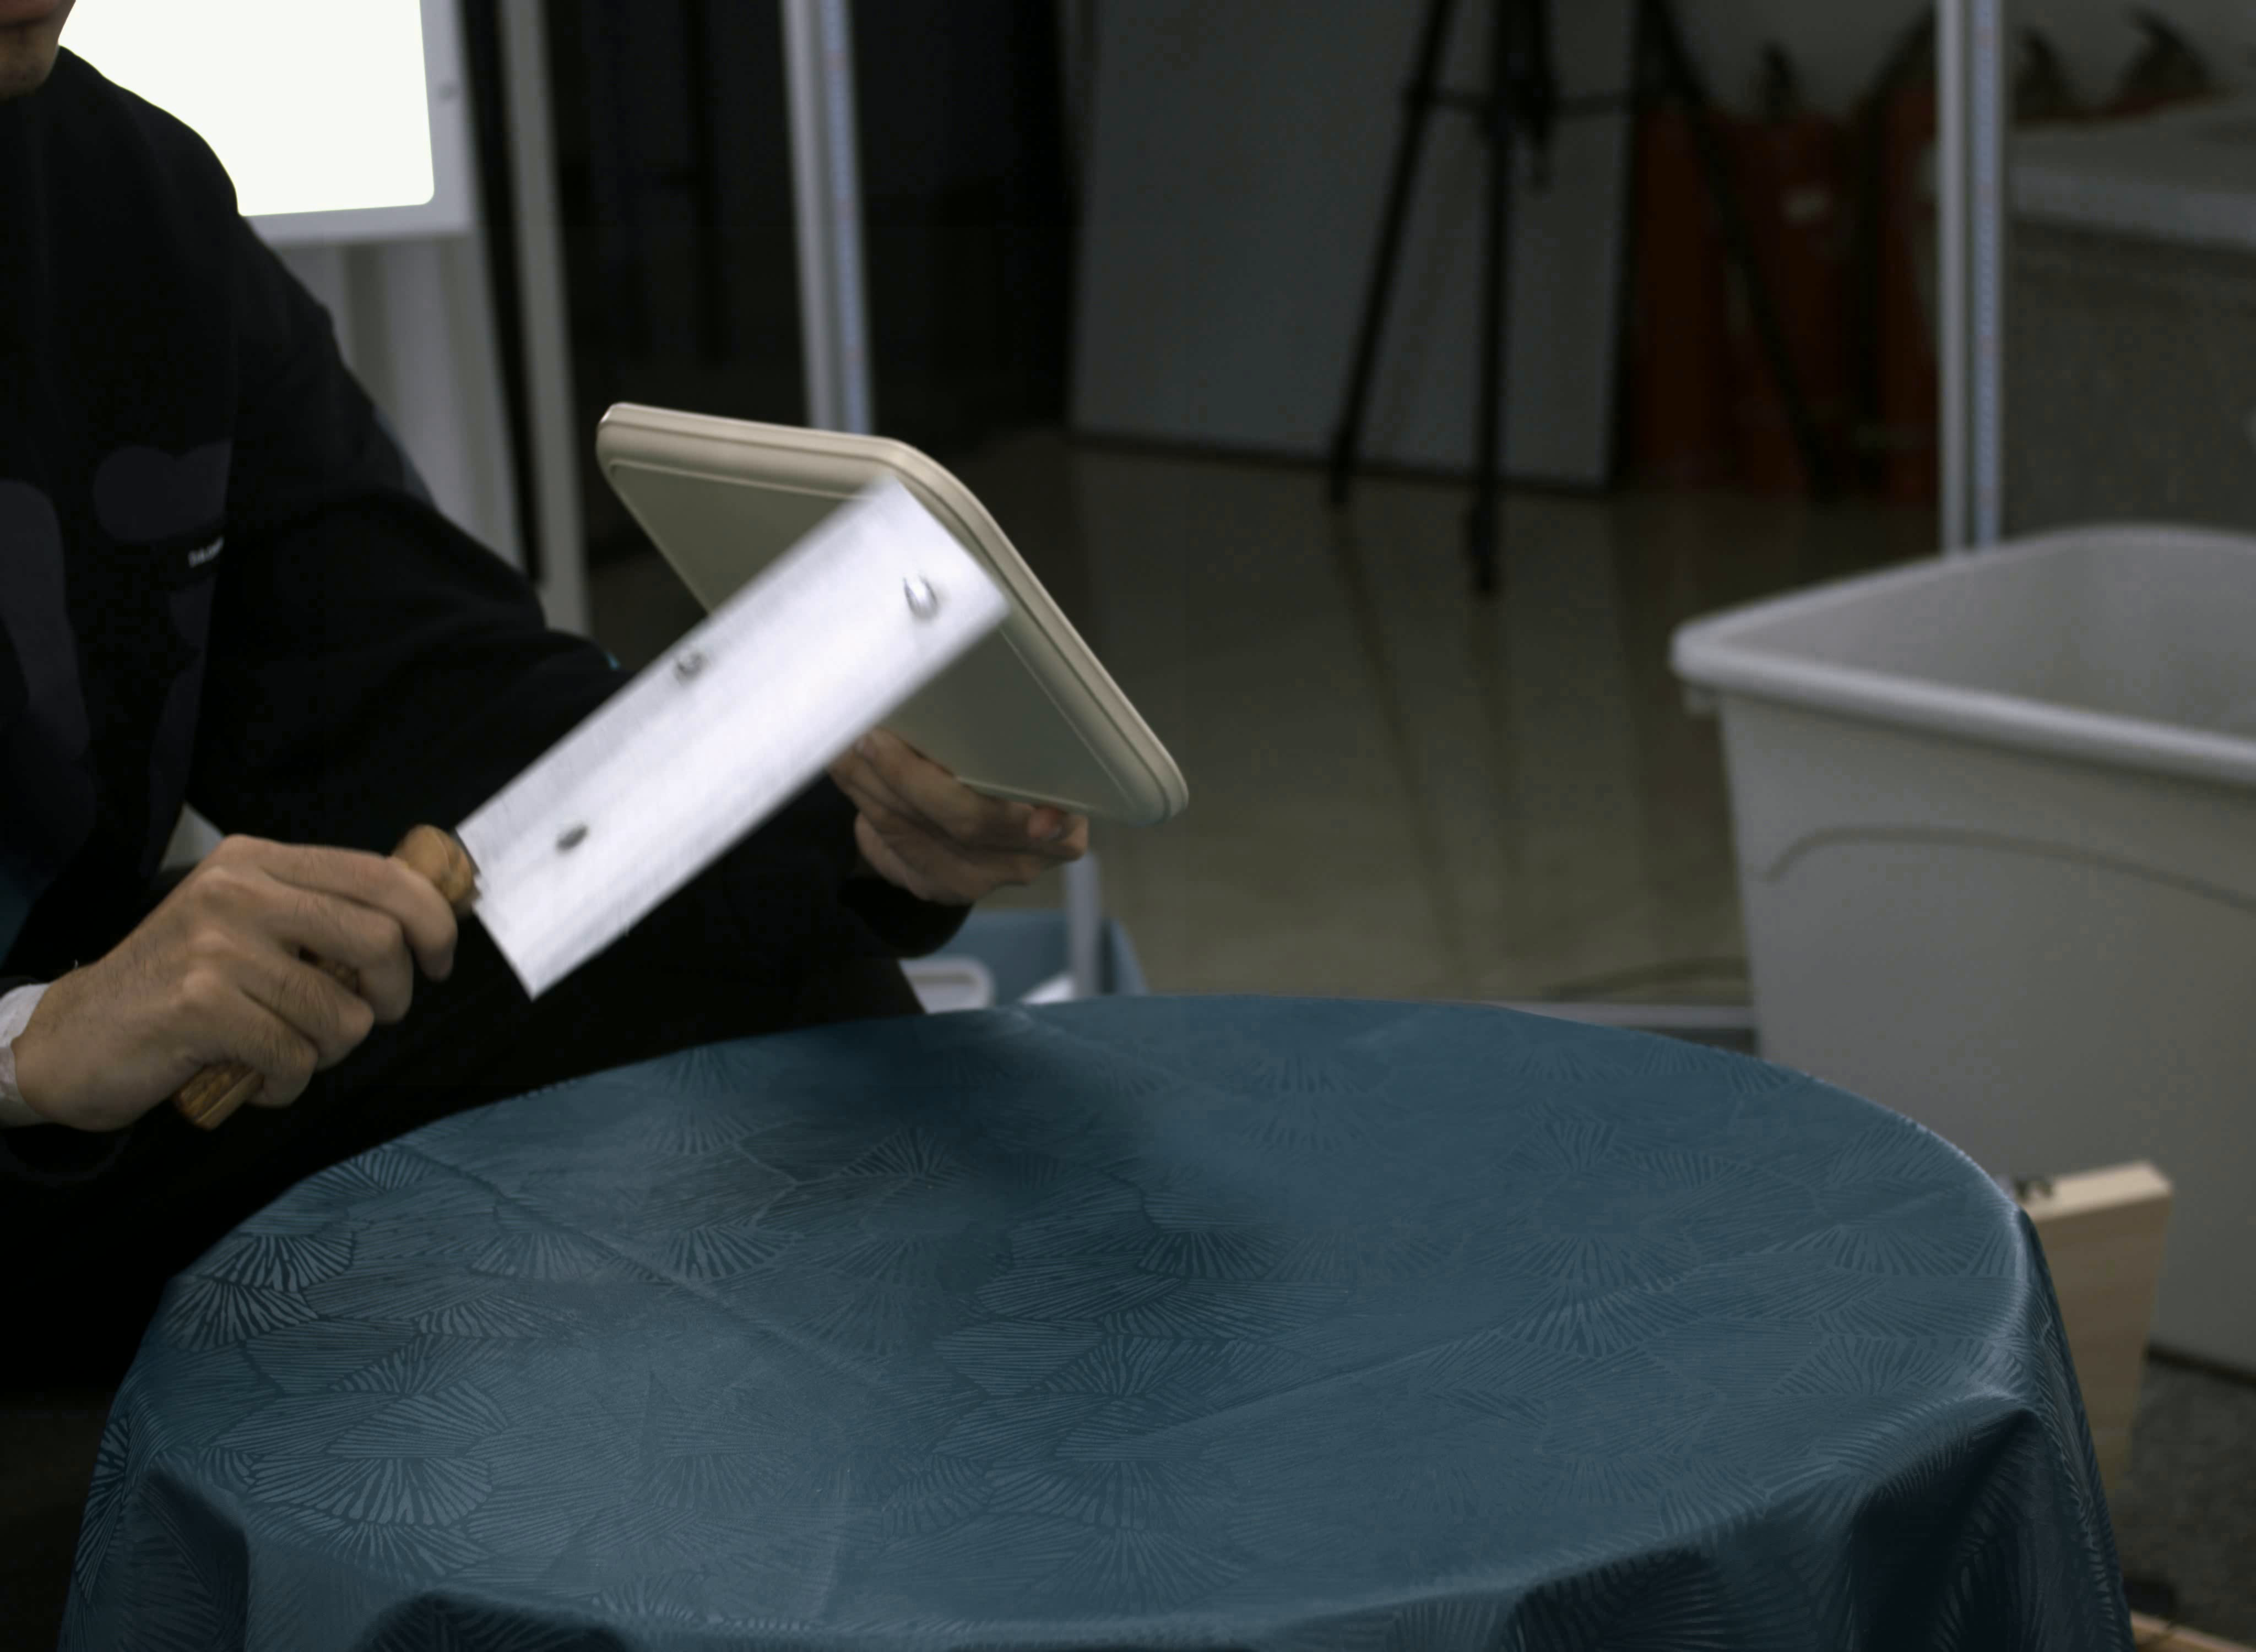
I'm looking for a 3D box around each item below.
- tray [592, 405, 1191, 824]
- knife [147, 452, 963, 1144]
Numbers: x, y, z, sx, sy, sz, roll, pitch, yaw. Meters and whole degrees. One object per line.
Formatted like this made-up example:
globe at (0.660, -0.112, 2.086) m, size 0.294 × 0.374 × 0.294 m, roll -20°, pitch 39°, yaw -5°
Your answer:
tray at (-0.085, -0.070, 1.821) m, size 0.017 × 0.170 × 0.242 m, roll -48°, pitch 28°, yaw -19°
knife at (-0.172, 0.000, 1.668) m, size 0.305 × 0.021 × 0.094 m, roll -42°, pitch 41°, yaw -3°
